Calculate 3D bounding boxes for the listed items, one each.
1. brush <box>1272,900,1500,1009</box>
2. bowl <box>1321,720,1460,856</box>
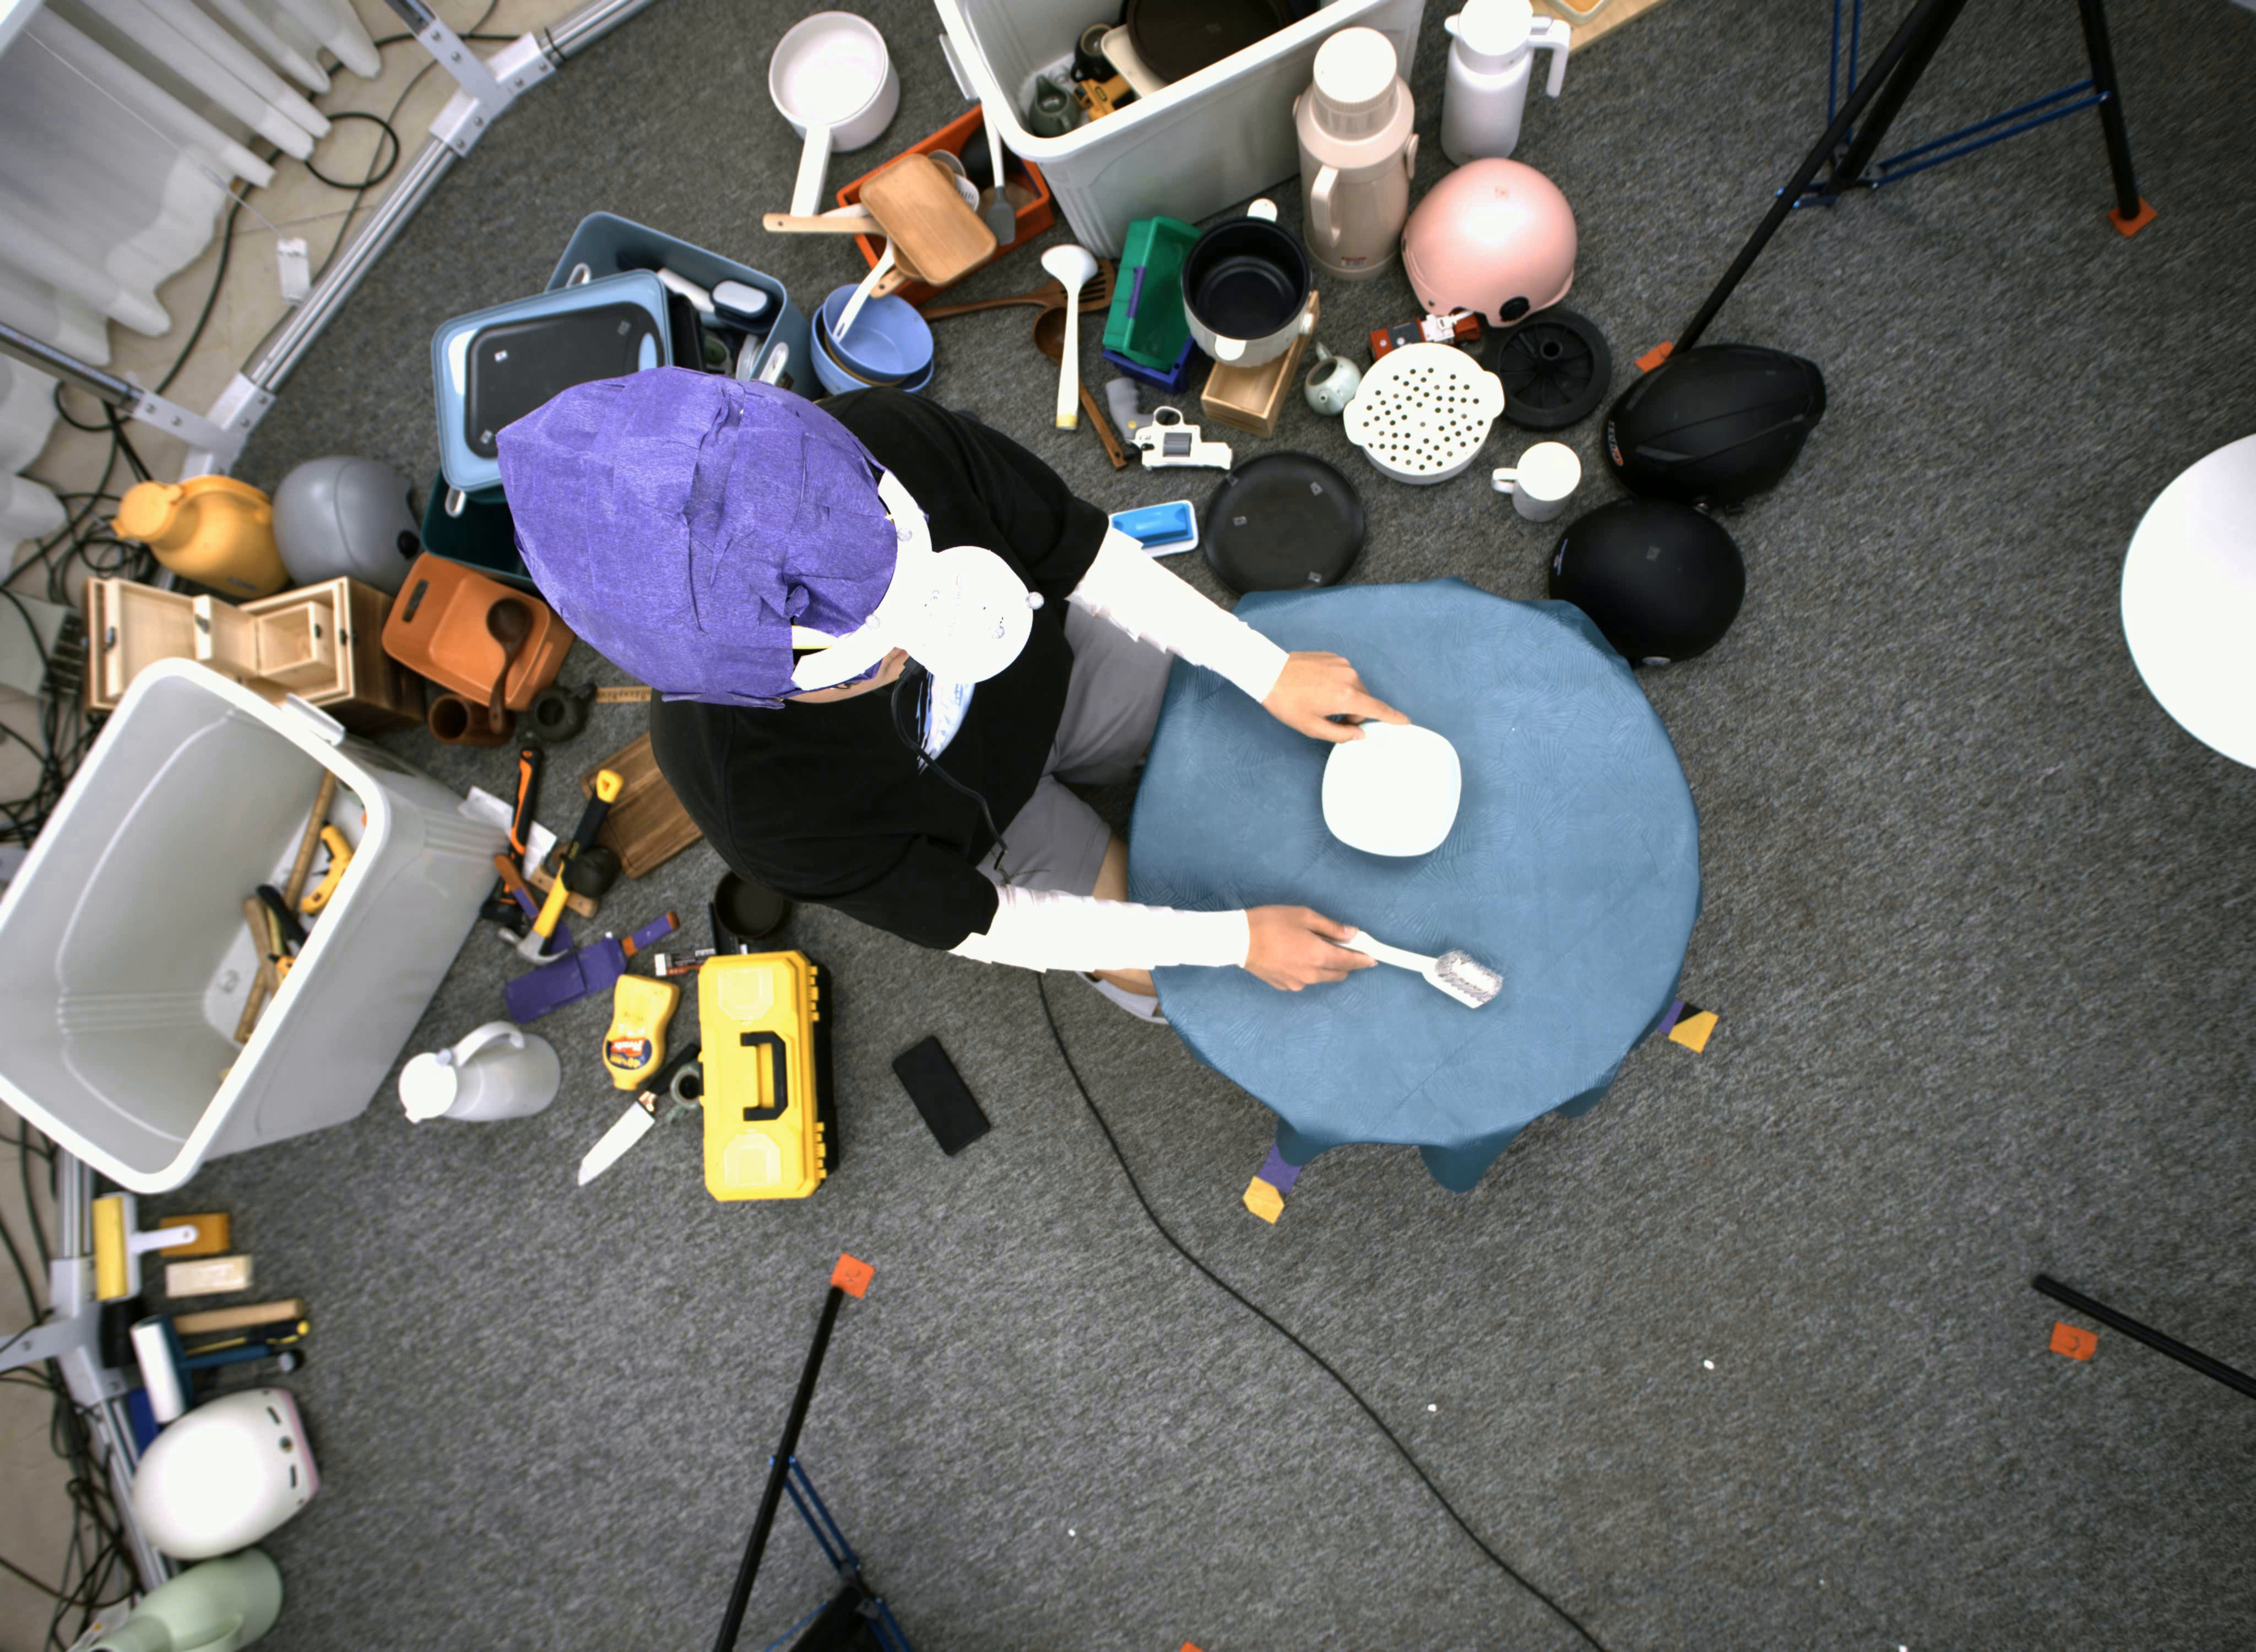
[{"bbox_3d":[0.265,0.122,1.423,0.243,0.051,0.033,24,63,8],"label":"brush"},{"bbox_3d":[0.272,-0.037,1.434,0.152,0.059,0.150,-1,85,9],"label":"bowl"}]
